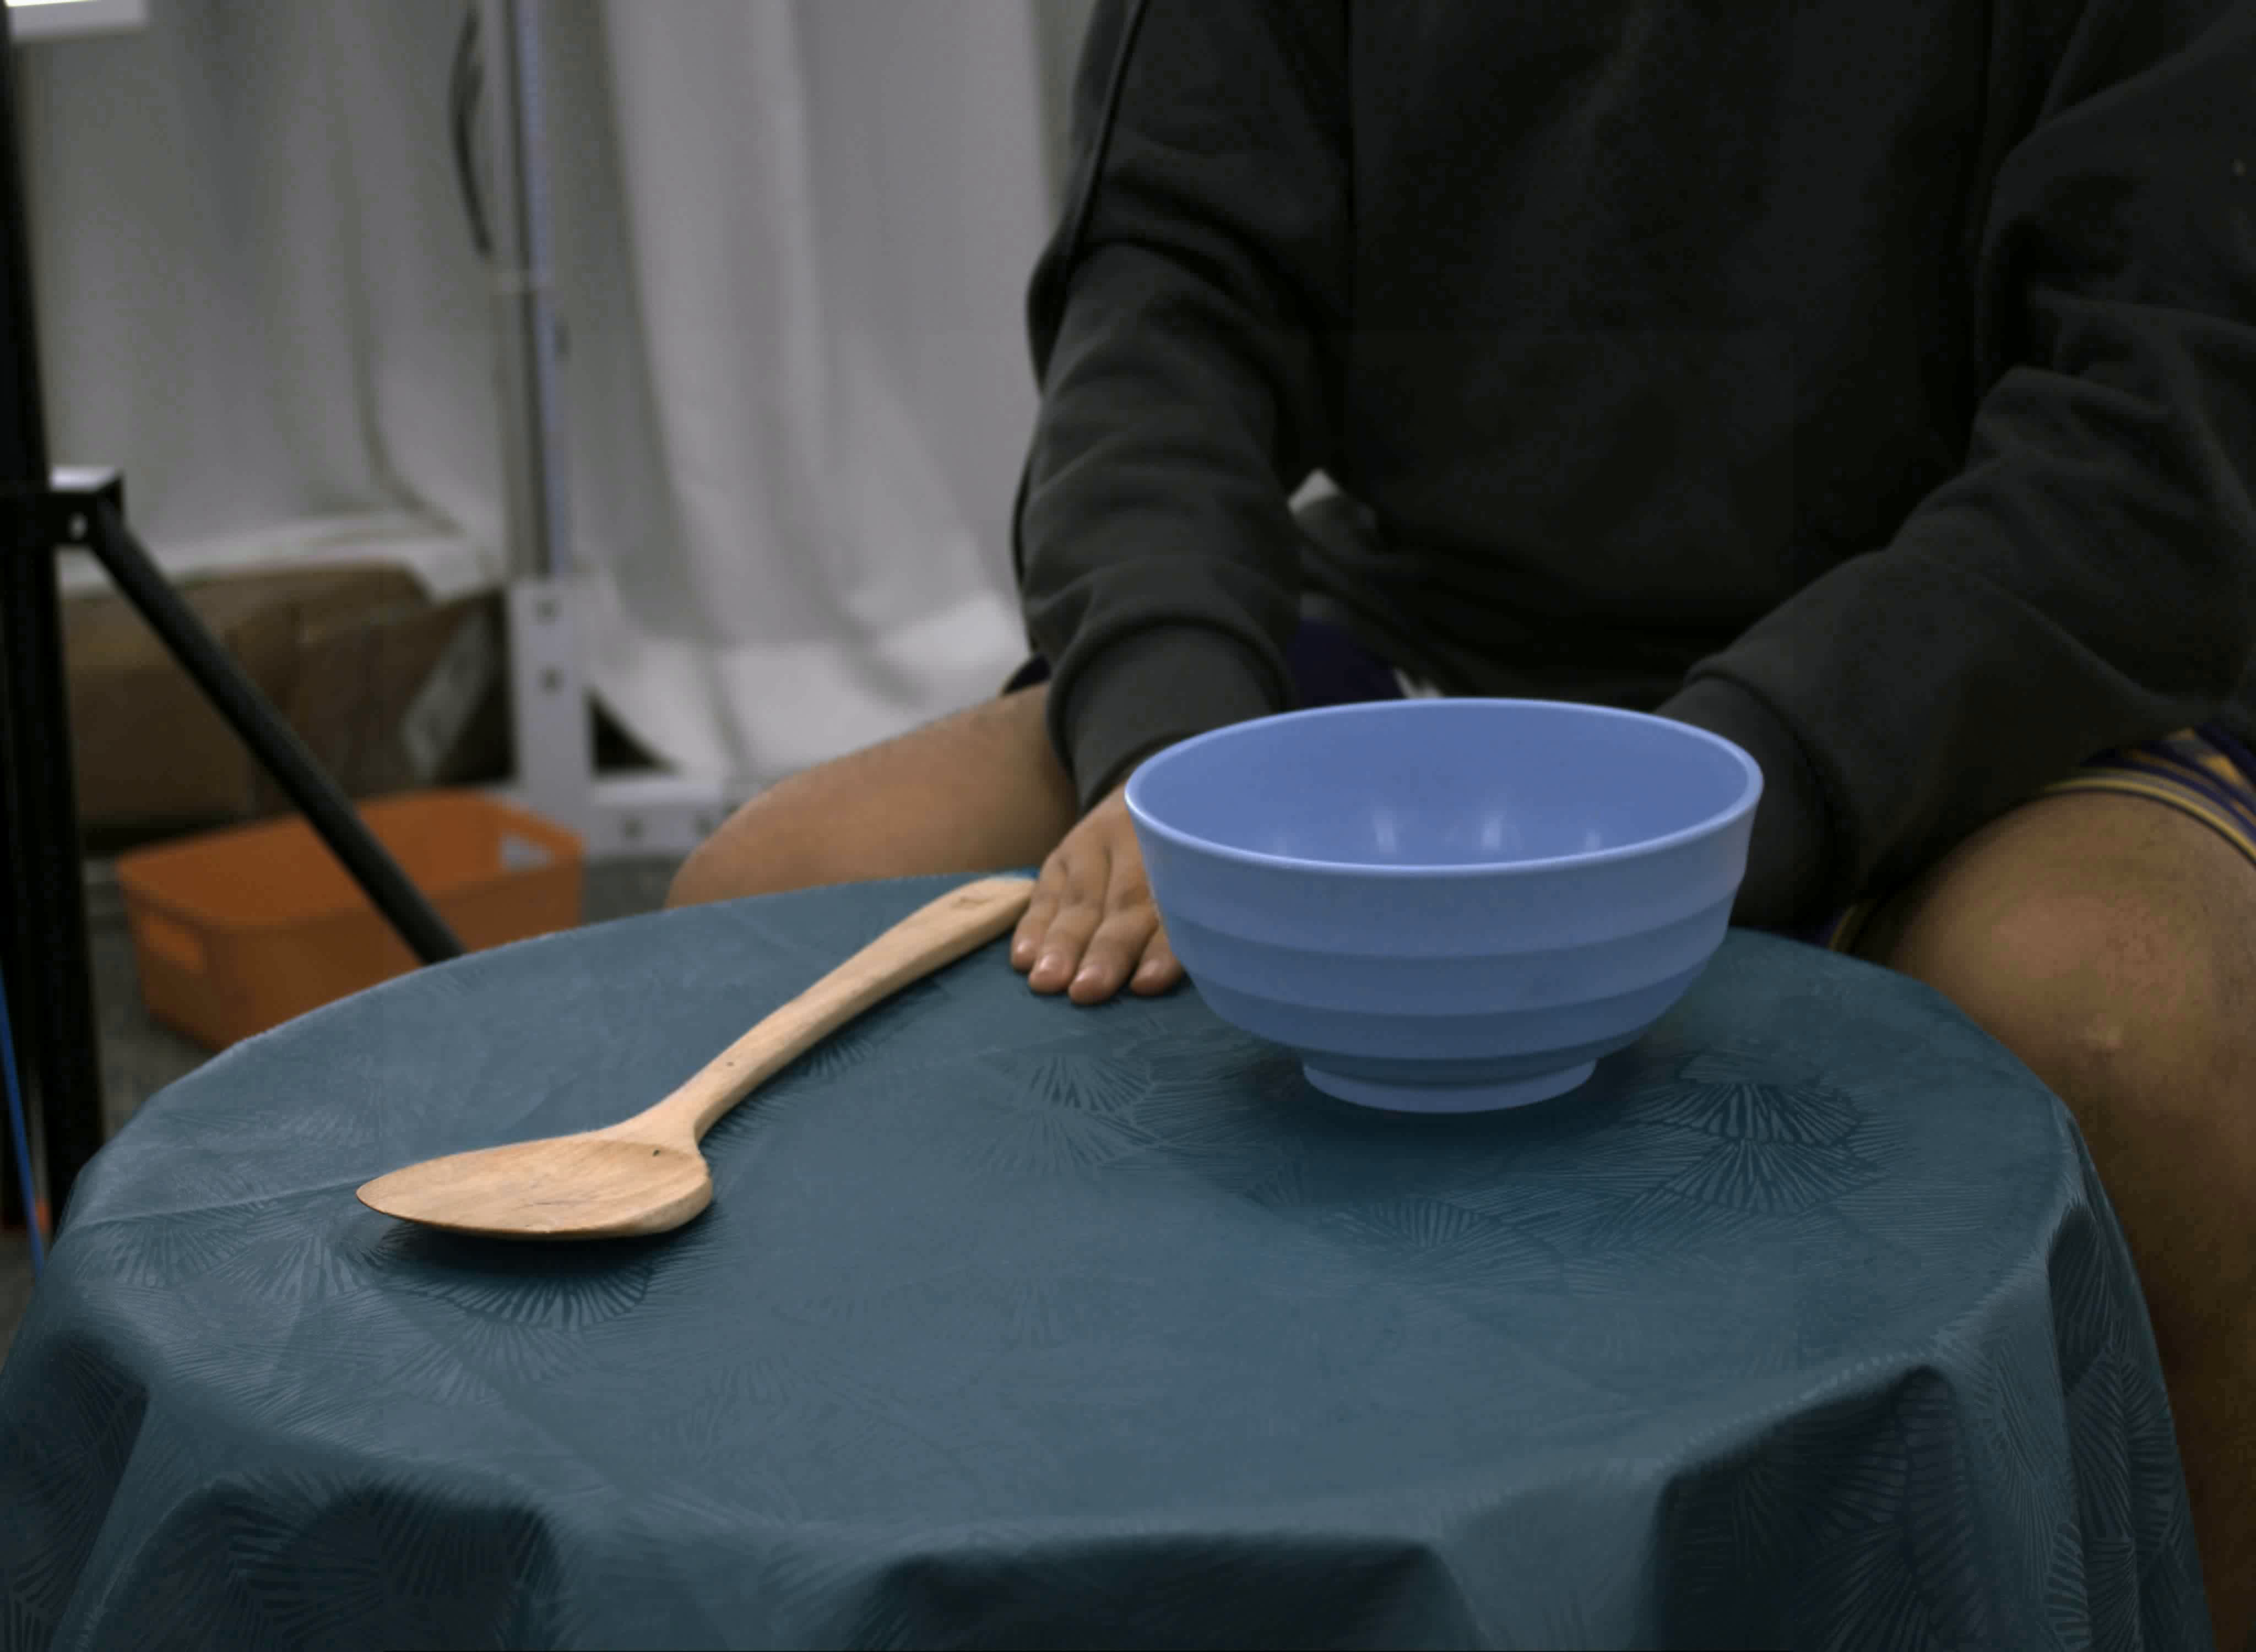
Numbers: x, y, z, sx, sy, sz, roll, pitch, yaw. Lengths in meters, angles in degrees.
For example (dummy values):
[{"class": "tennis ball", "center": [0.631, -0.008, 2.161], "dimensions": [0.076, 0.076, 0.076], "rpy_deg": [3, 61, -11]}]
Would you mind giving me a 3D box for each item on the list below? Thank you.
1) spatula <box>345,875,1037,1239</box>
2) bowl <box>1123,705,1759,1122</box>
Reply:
[{"class": "spatula", "center": [-0.117, 0.068, 1.690], "dimensions": [0.097, 0.018, 0.385], "rpy_deg": [6, 18, 22]}, {"class": "bowl", "center": [0.099, 0.033, 1.646], "dimensions": [0.195, 0.095, 0.197], "rpy_deg": [-5, 16, 0]}]
